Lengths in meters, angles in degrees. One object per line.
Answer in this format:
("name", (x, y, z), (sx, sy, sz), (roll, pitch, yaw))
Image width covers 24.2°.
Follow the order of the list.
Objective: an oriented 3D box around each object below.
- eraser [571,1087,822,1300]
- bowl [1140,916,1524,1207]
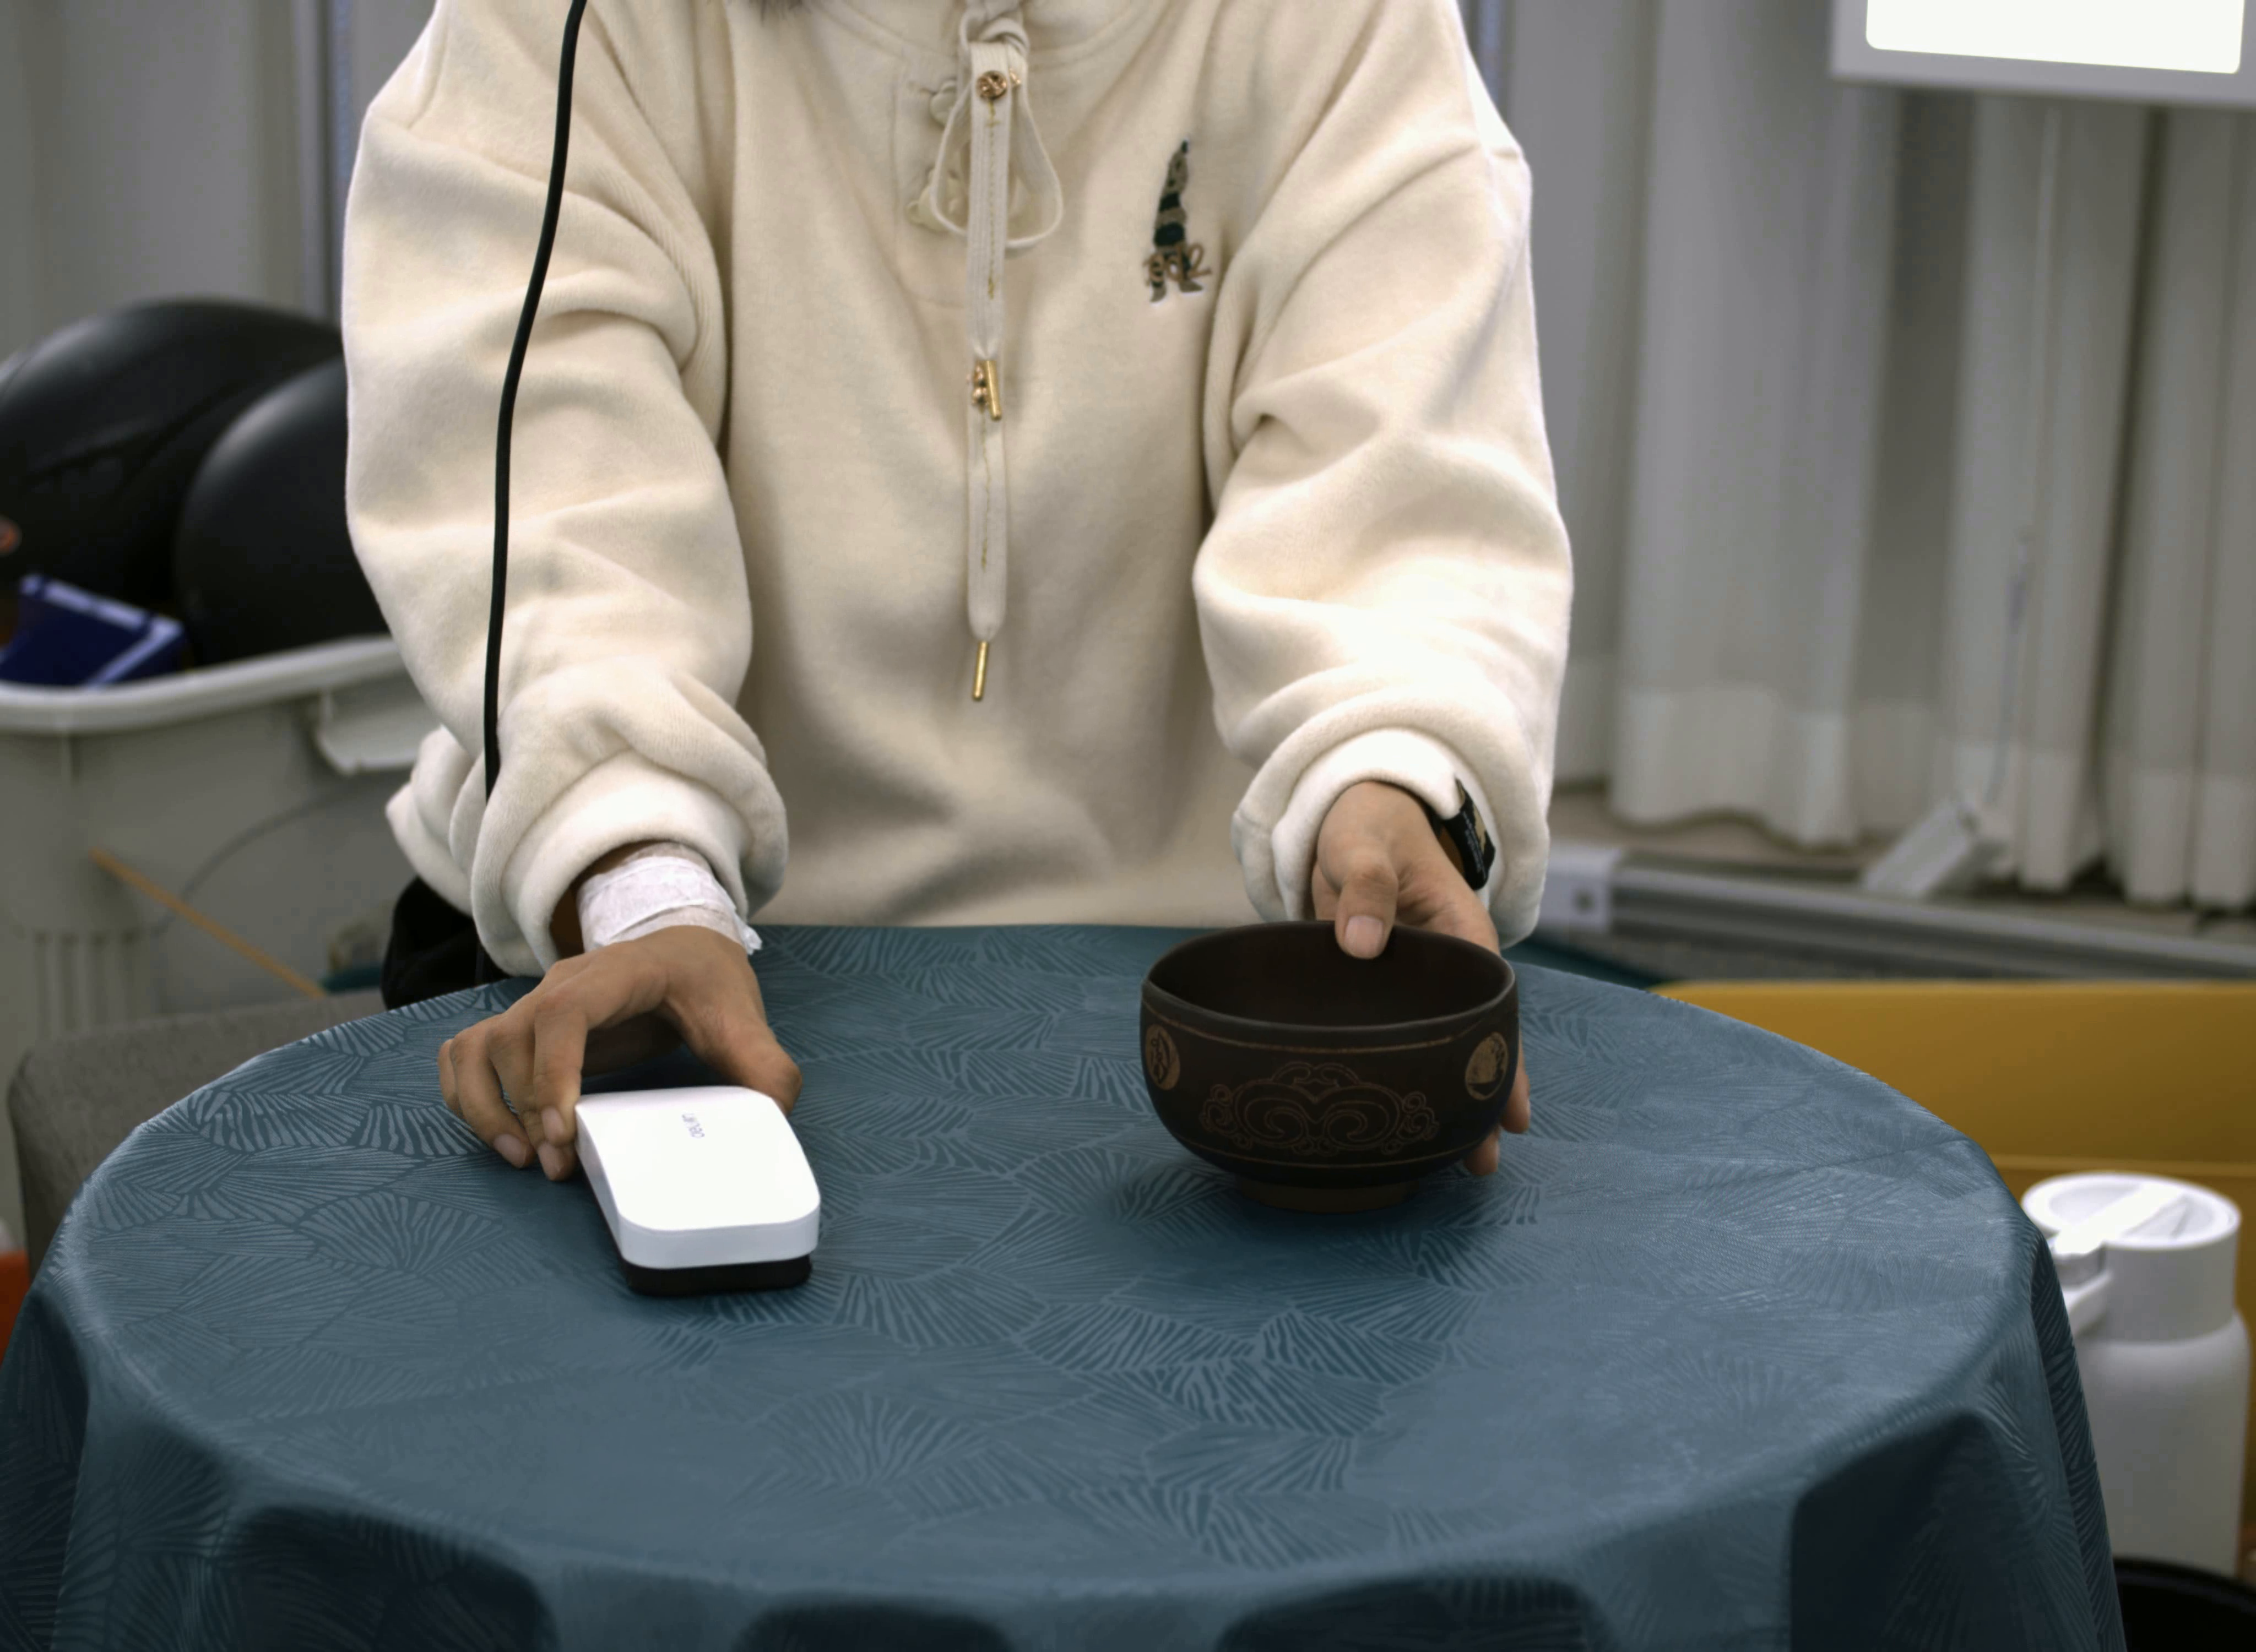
("eraser", (-0.130, 0.106, 1.584), (0.063, 0.035, 0.130), (-3, 16, -13))
("bowl", (0.062, 0.076, 1.619), (0.117, 0.070, 0.117), (2, 15, 0))
